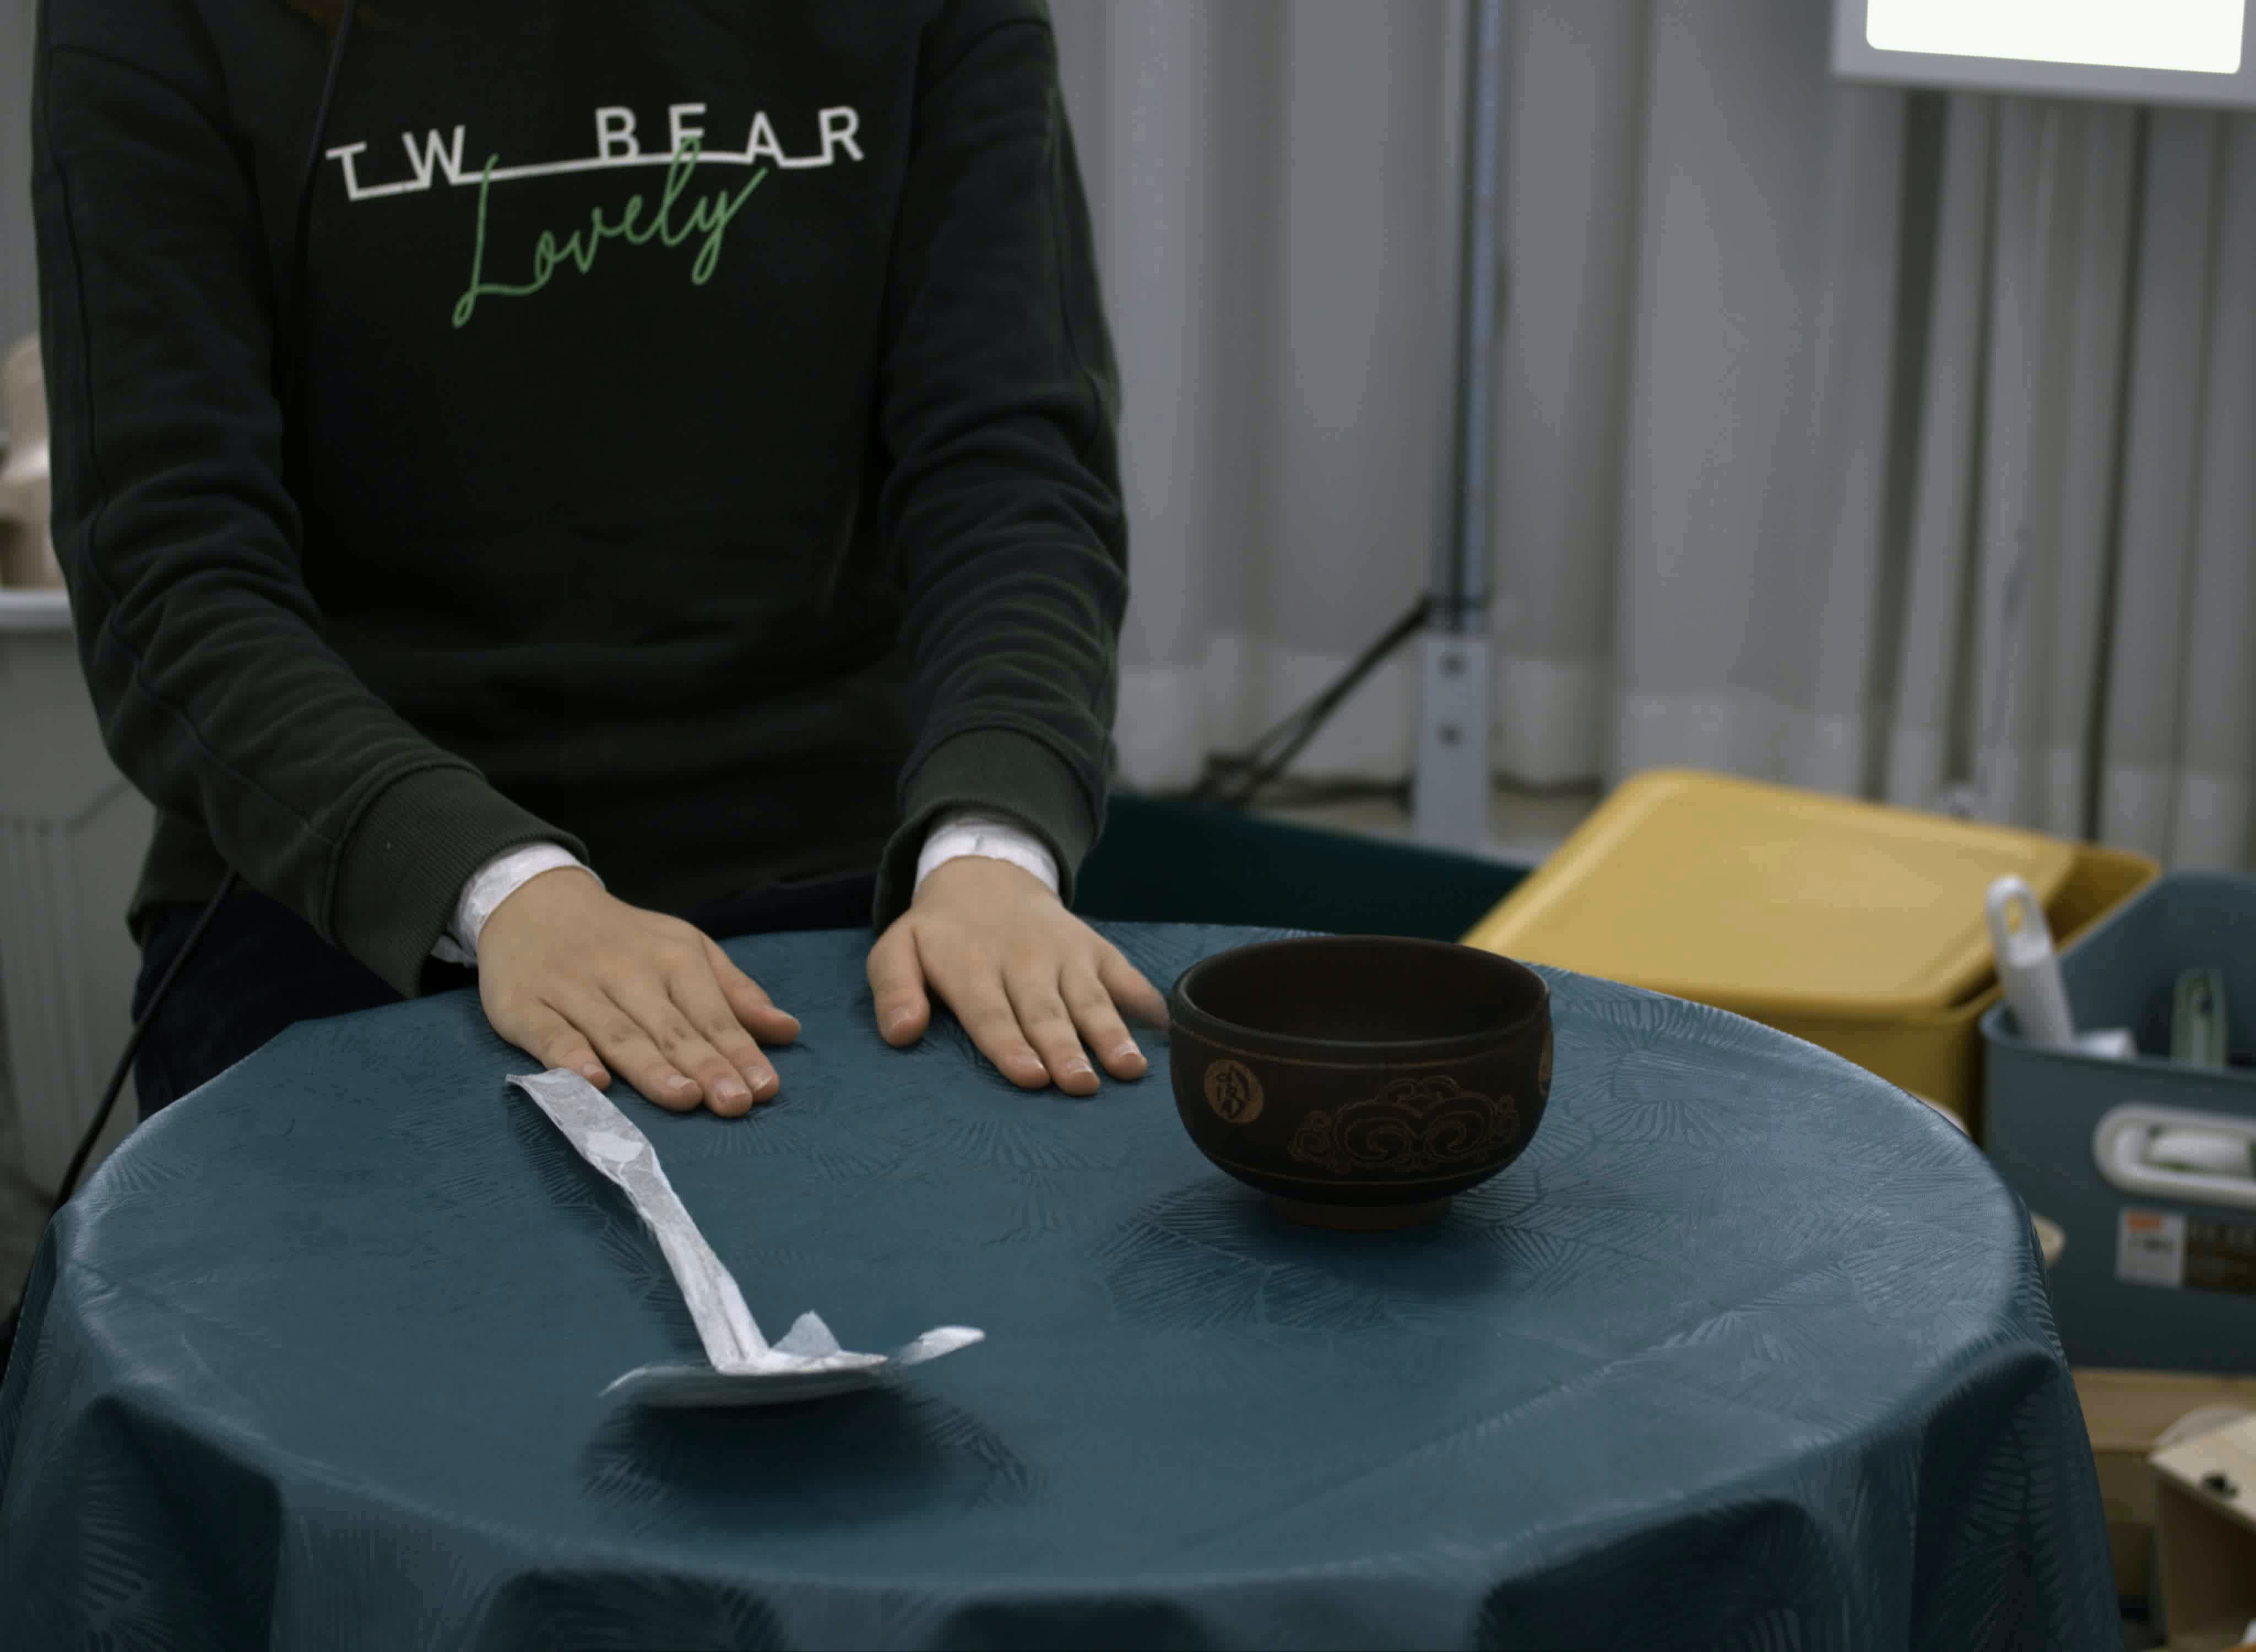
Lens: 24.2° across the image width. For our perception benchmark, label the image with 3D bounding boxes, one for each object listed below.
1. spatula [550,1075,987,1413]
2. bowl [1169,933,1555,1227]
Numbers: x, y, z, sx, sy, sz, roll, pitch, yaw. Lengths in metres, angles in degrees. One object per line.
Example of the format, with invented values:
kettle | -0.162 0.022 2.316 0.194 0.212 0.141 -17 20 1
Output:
spatula | -0.130 0.113 1.547 0.099 0.045 0.361 -6 17 -16
bowl | 0.071 0.081 1.609 0.117 0.070 0.117 2 15 0
